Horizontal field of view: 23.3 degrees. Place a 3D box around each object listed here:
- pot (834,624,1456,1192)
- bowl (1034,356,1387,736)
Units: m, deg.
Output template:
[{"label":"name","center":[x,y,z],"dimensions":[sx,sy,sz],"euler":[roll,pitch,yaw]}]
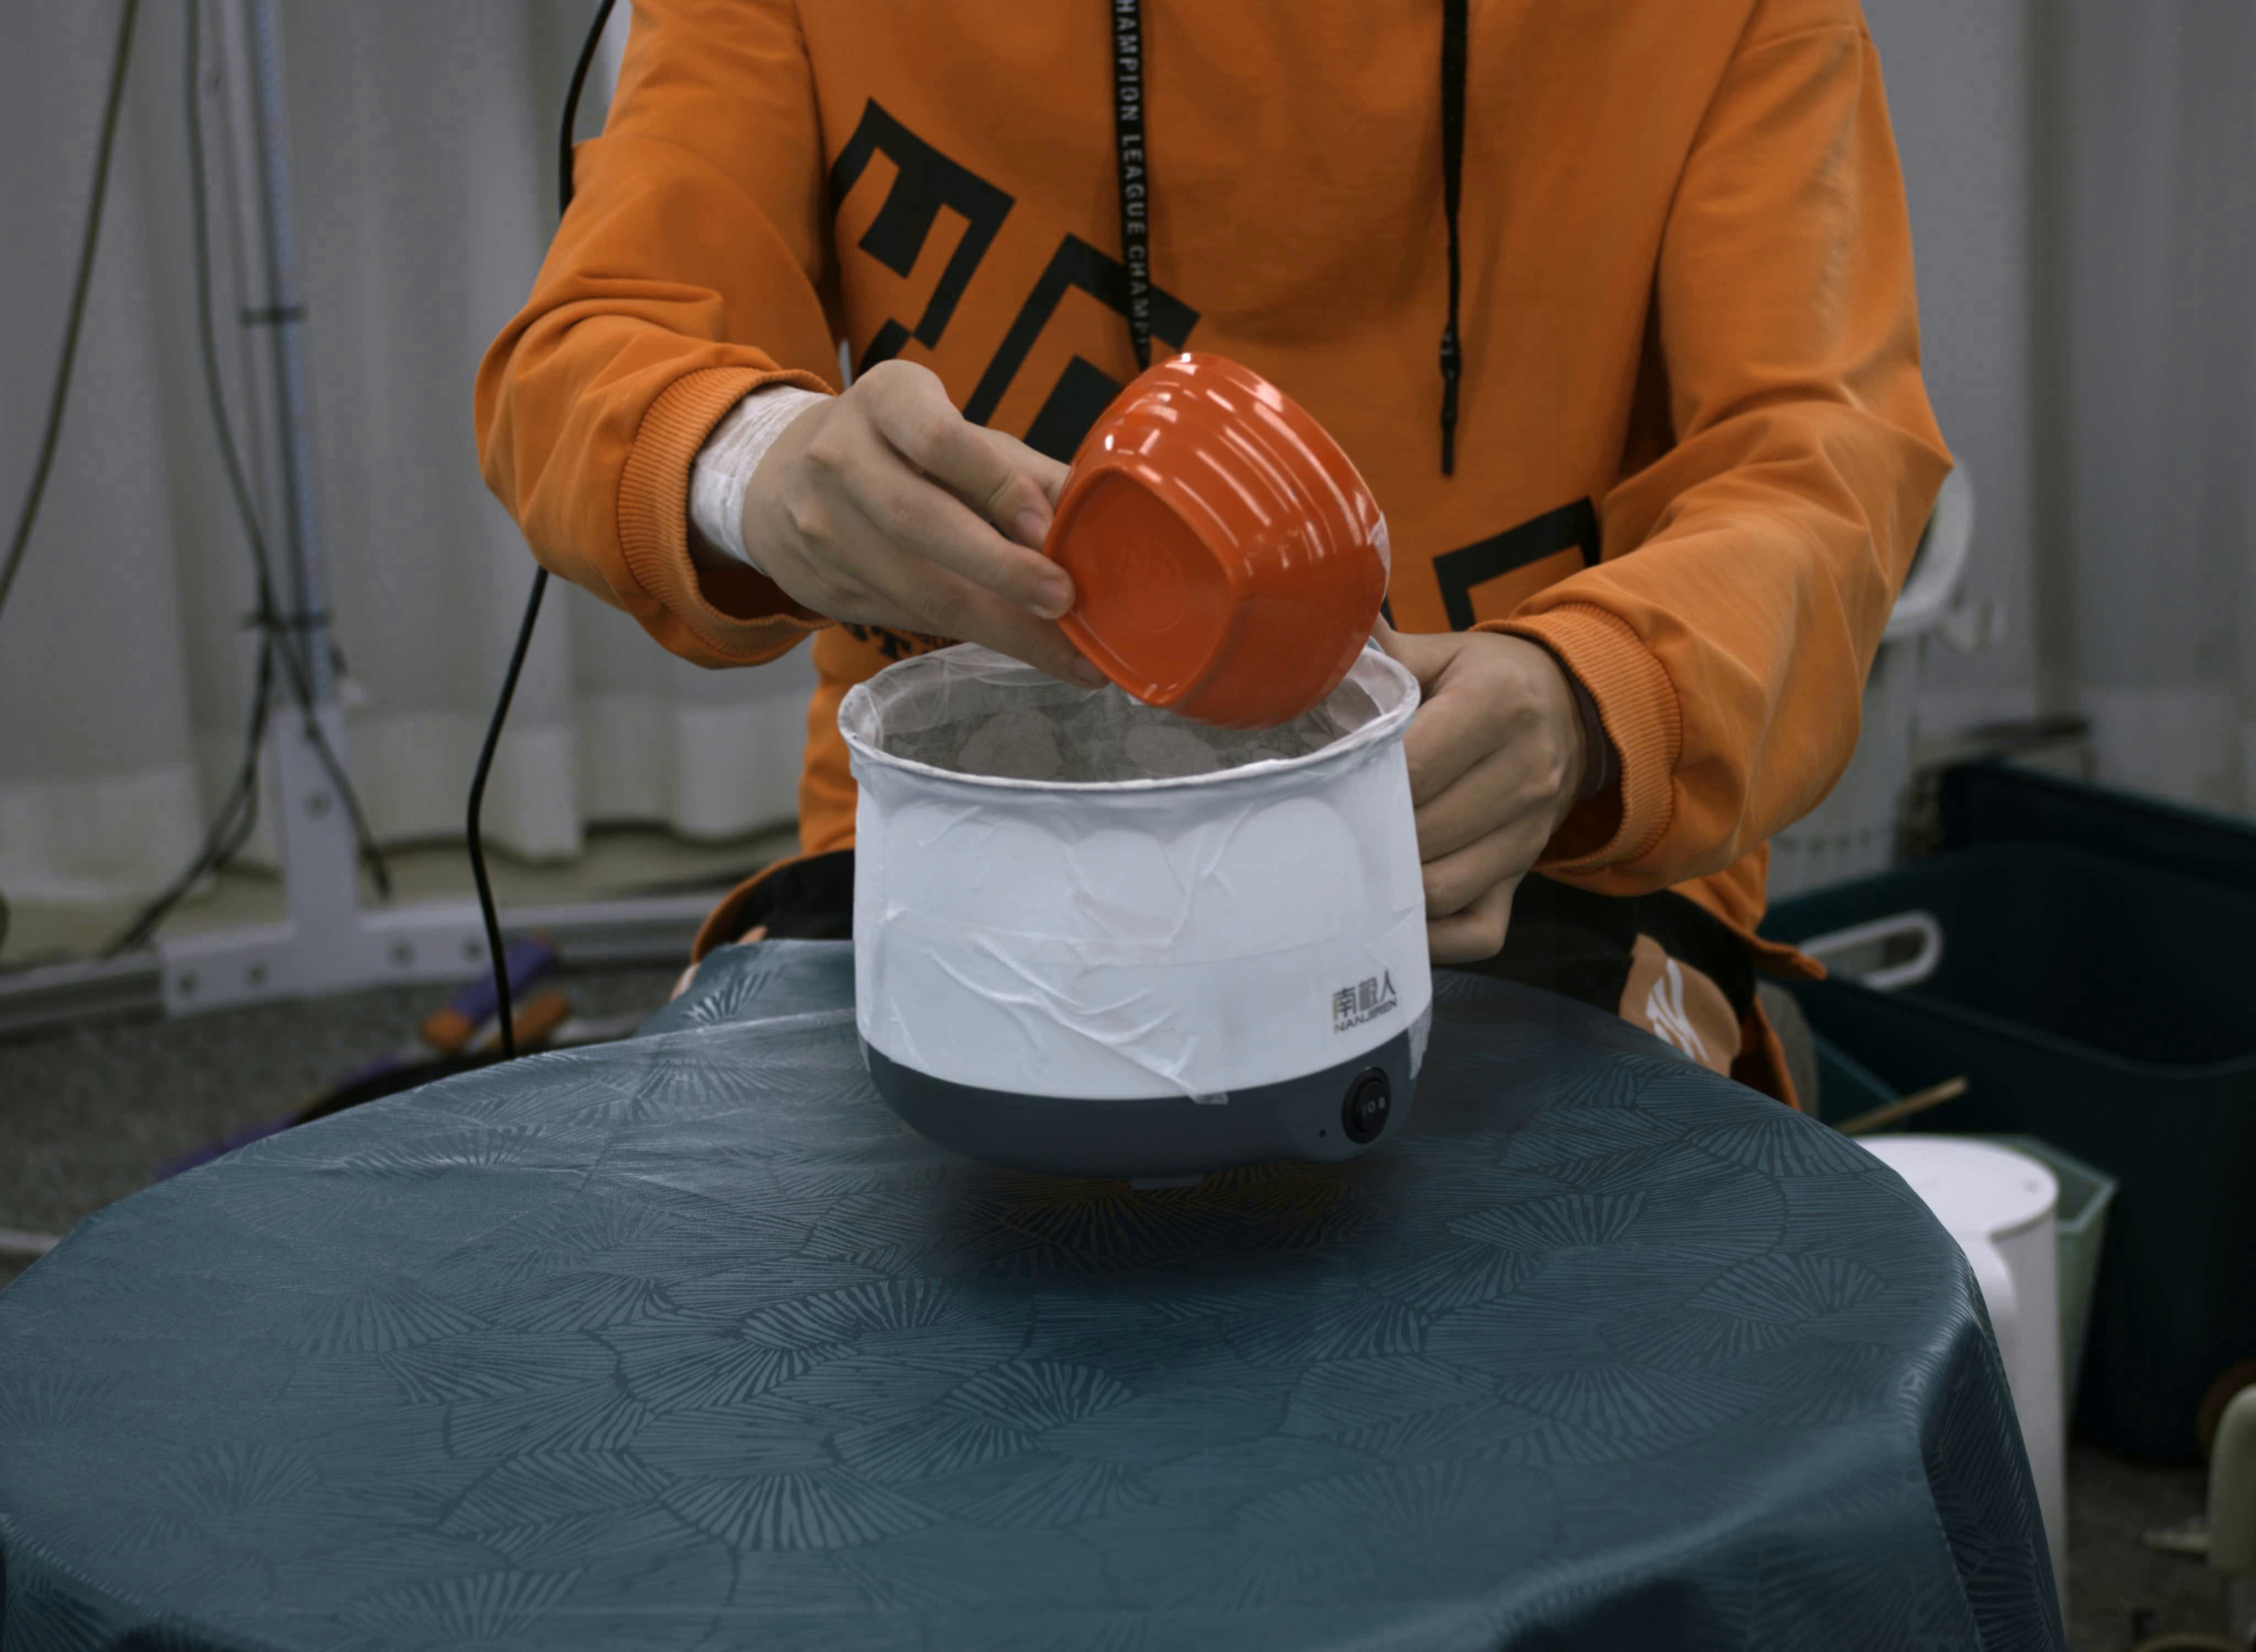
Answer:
[{"label":"pot","center":[0.019,0.015,1.689],"dimensions":[0.179,0.136,0.233],"euler":[11,22,37]},{"label":"bowl","center":[0.016,-0.078,1.646],"dimensions":[0.119,0.118,0.051],"euler":[9,25,38]}]
